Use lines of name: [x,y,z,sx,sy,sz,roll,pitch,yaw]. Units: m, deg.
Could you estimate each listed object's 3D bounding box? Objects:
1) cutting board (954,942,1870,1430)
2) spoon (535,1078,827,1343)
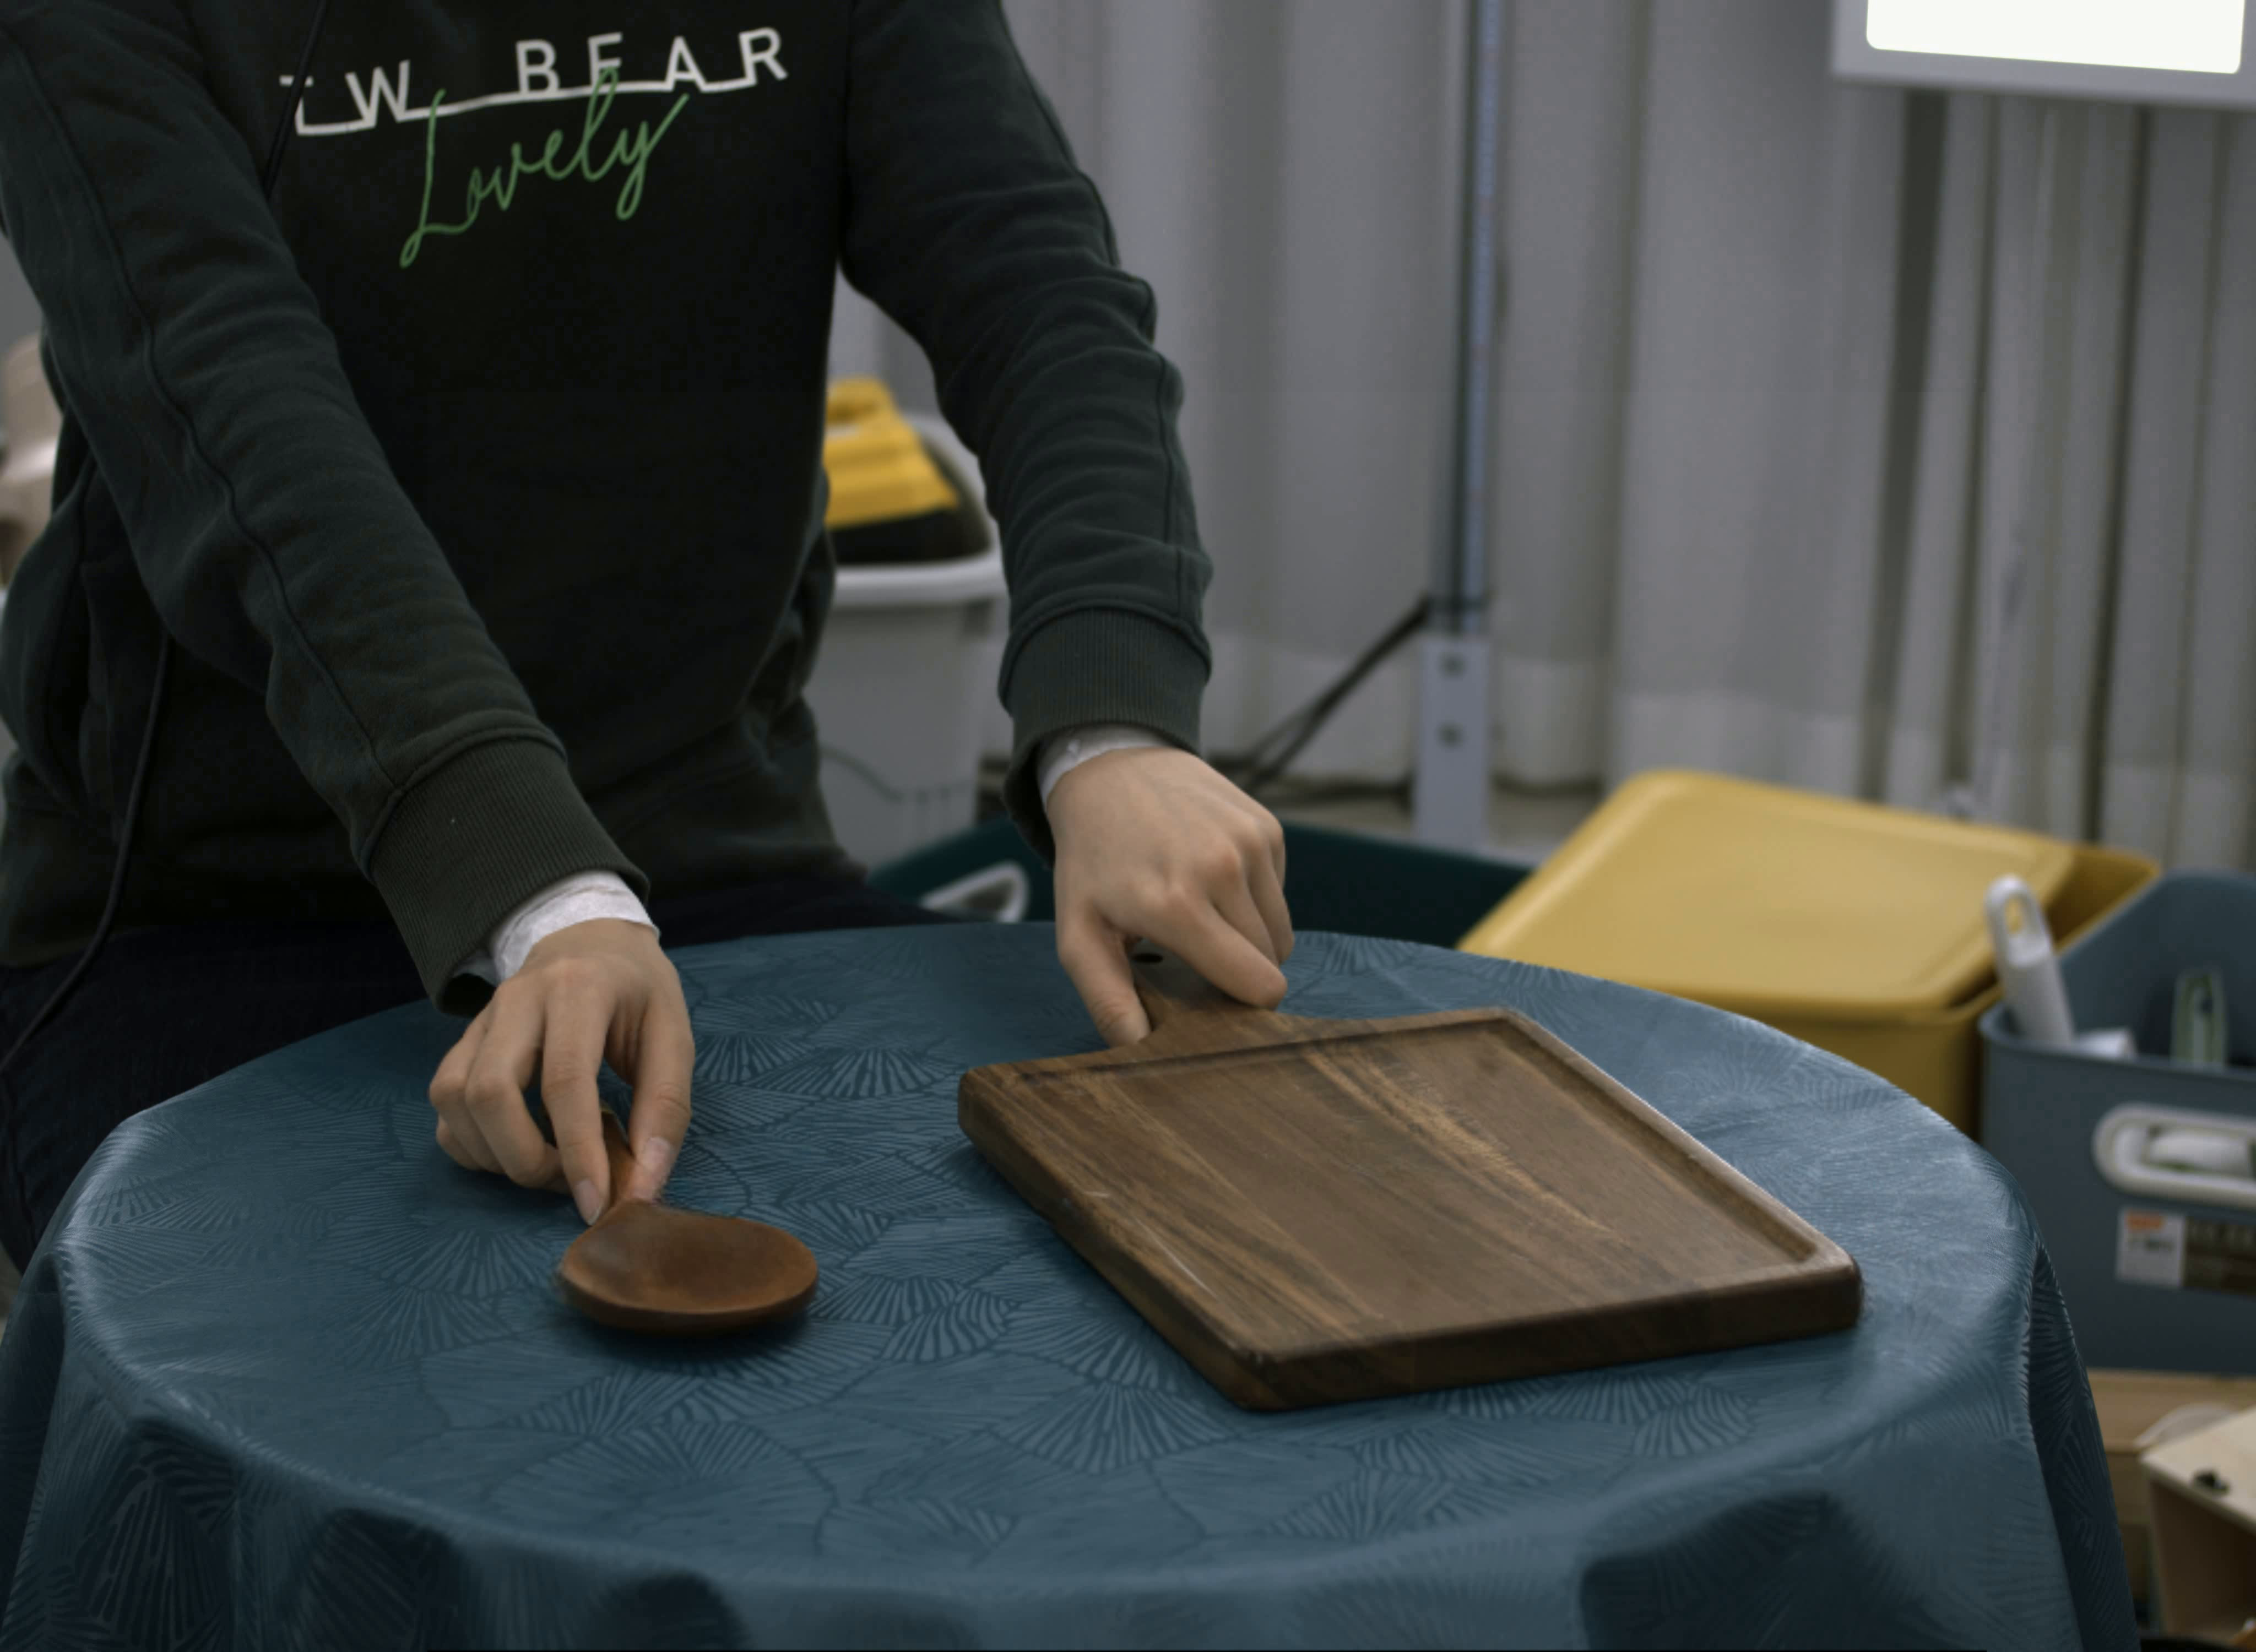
cutting board: [0.062,0.098,1.631,0.201,0.023,0.348,-7,19,-20]
spoon: [-0.145,0.116,1.577,0.075,0.017,0.213,-6,18,-17]
